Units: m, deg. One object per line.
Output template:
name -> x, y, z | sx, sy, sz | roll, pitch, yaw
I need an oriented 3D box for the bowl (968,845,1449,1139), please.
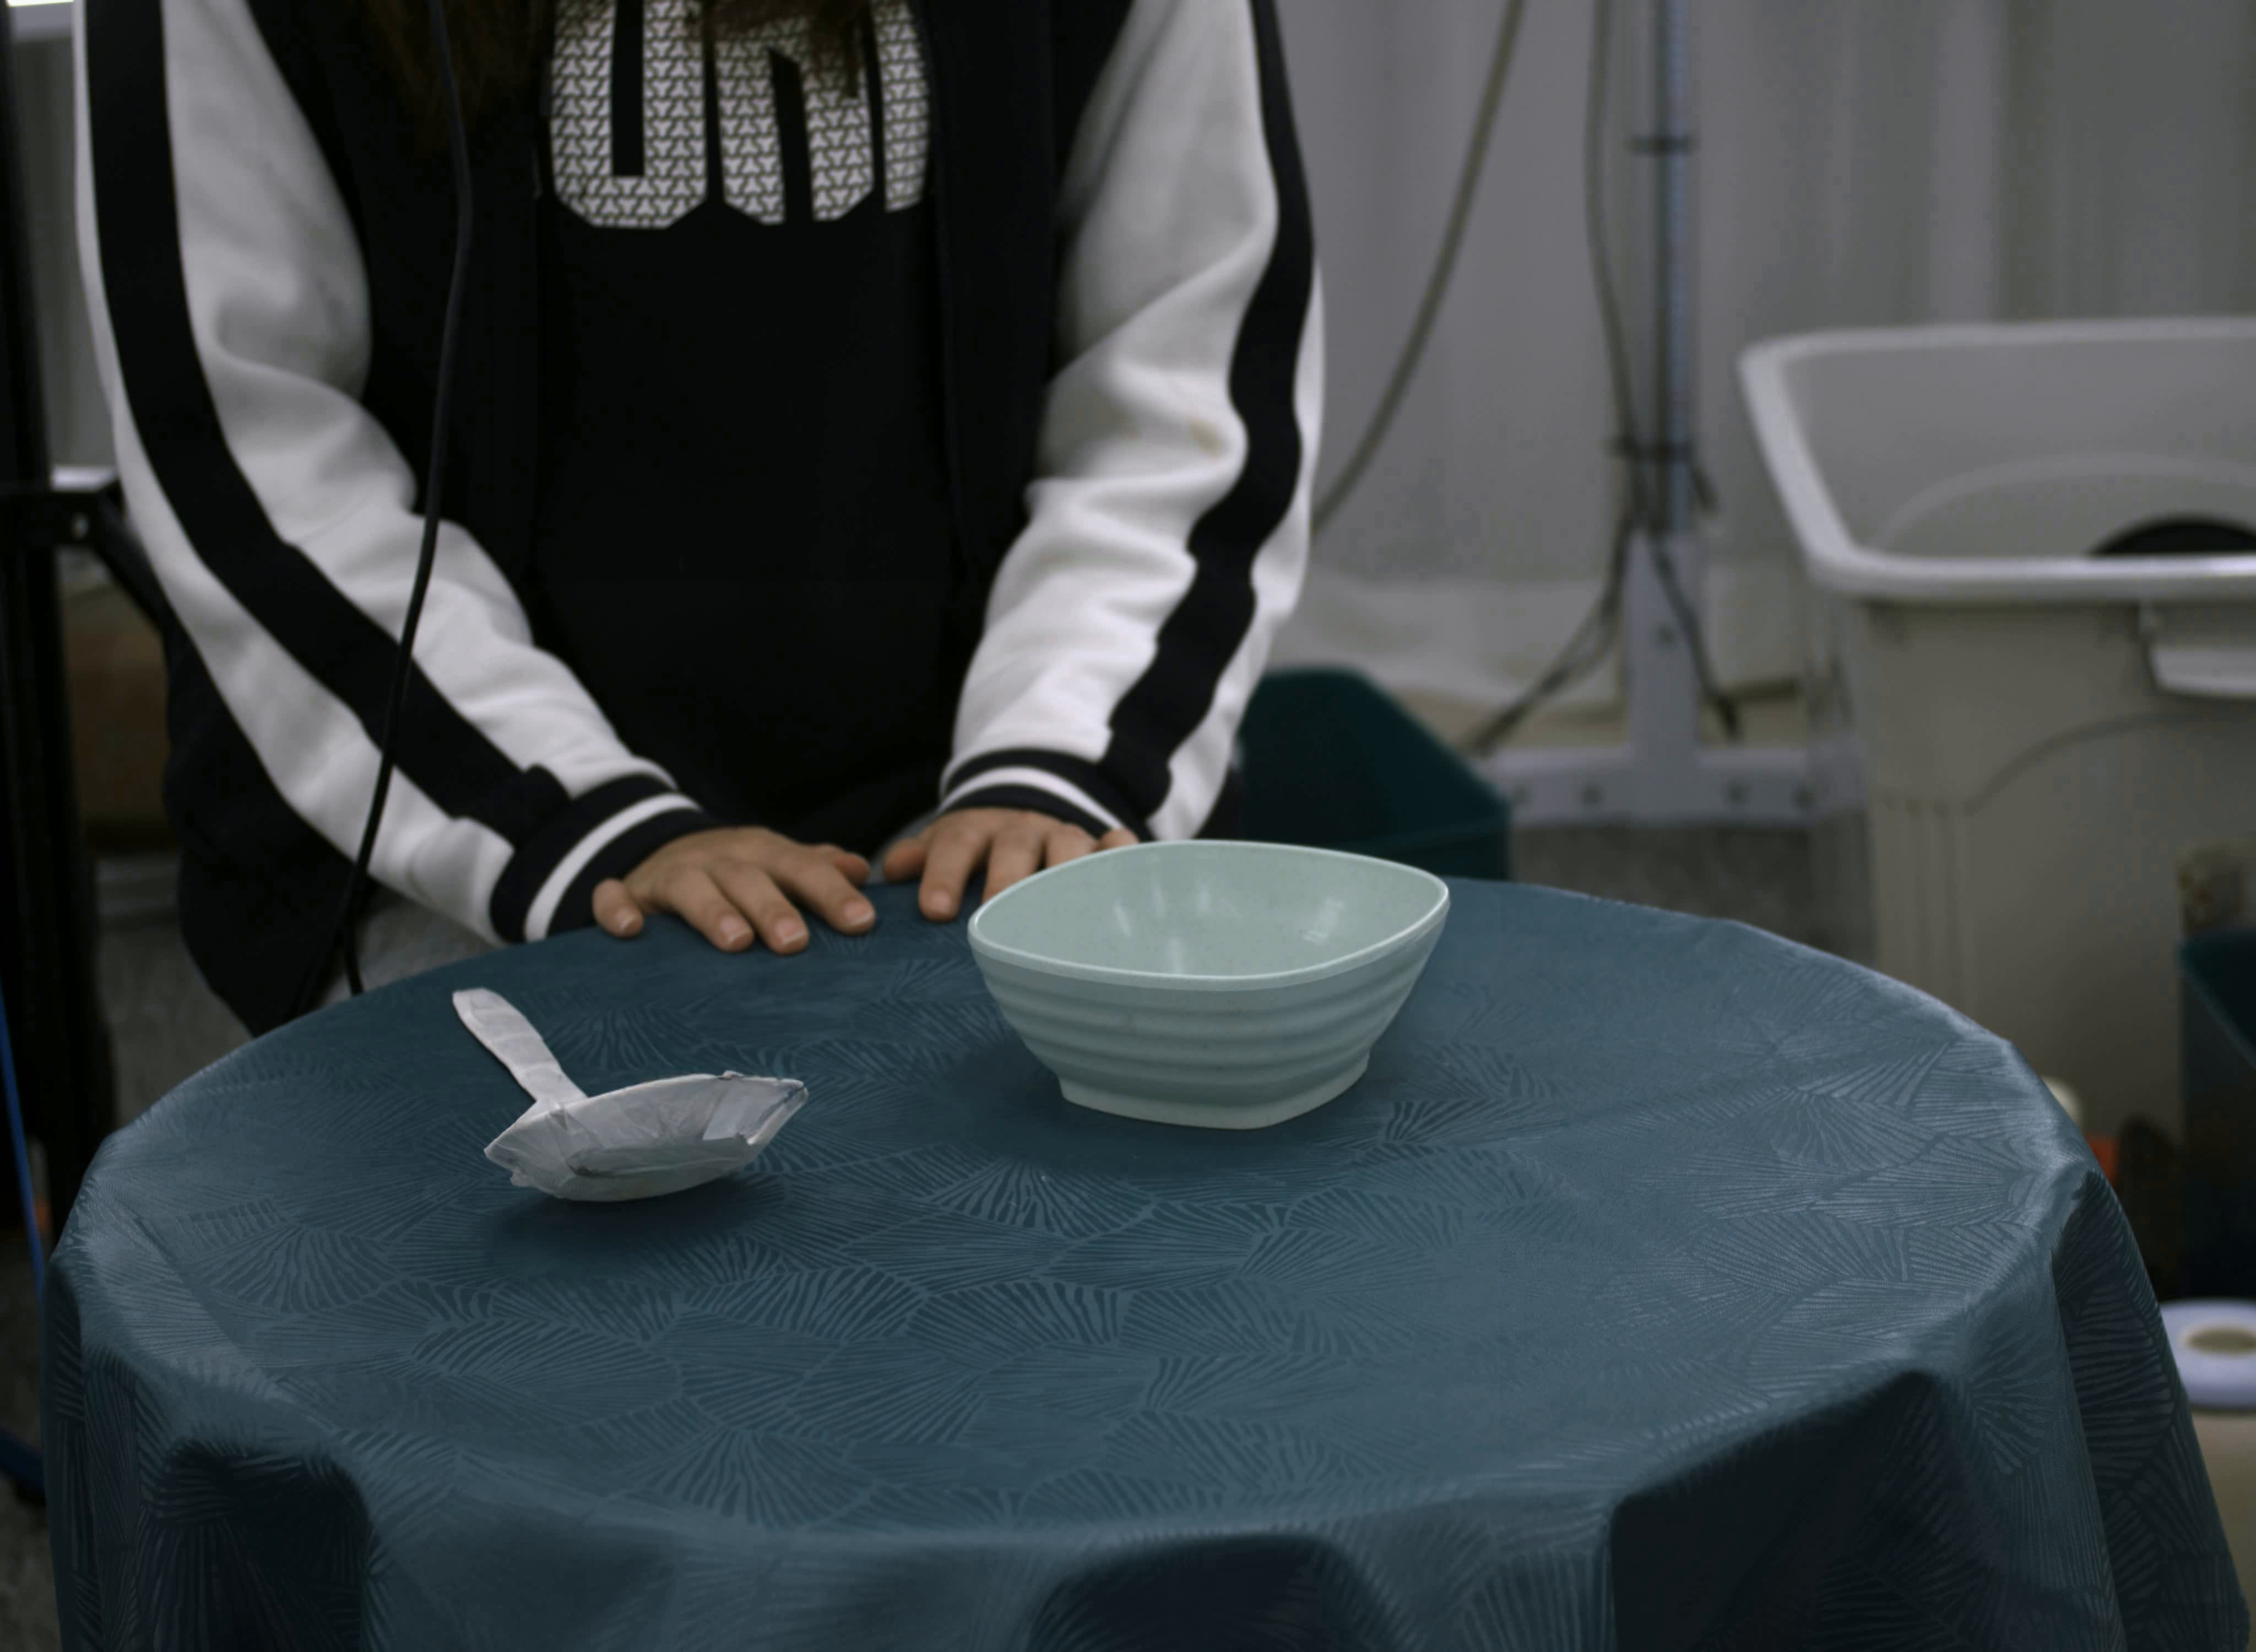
bowl -> 0.026, 0.054, 1.646 | 0.150, 0.058, 0.152 | -3, 16, -1

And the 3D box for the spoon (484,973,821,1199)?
spoon -> -0.164, 0.062, 1.644 | 0.099, 0.059, 0.281 | -2, 15, -16
